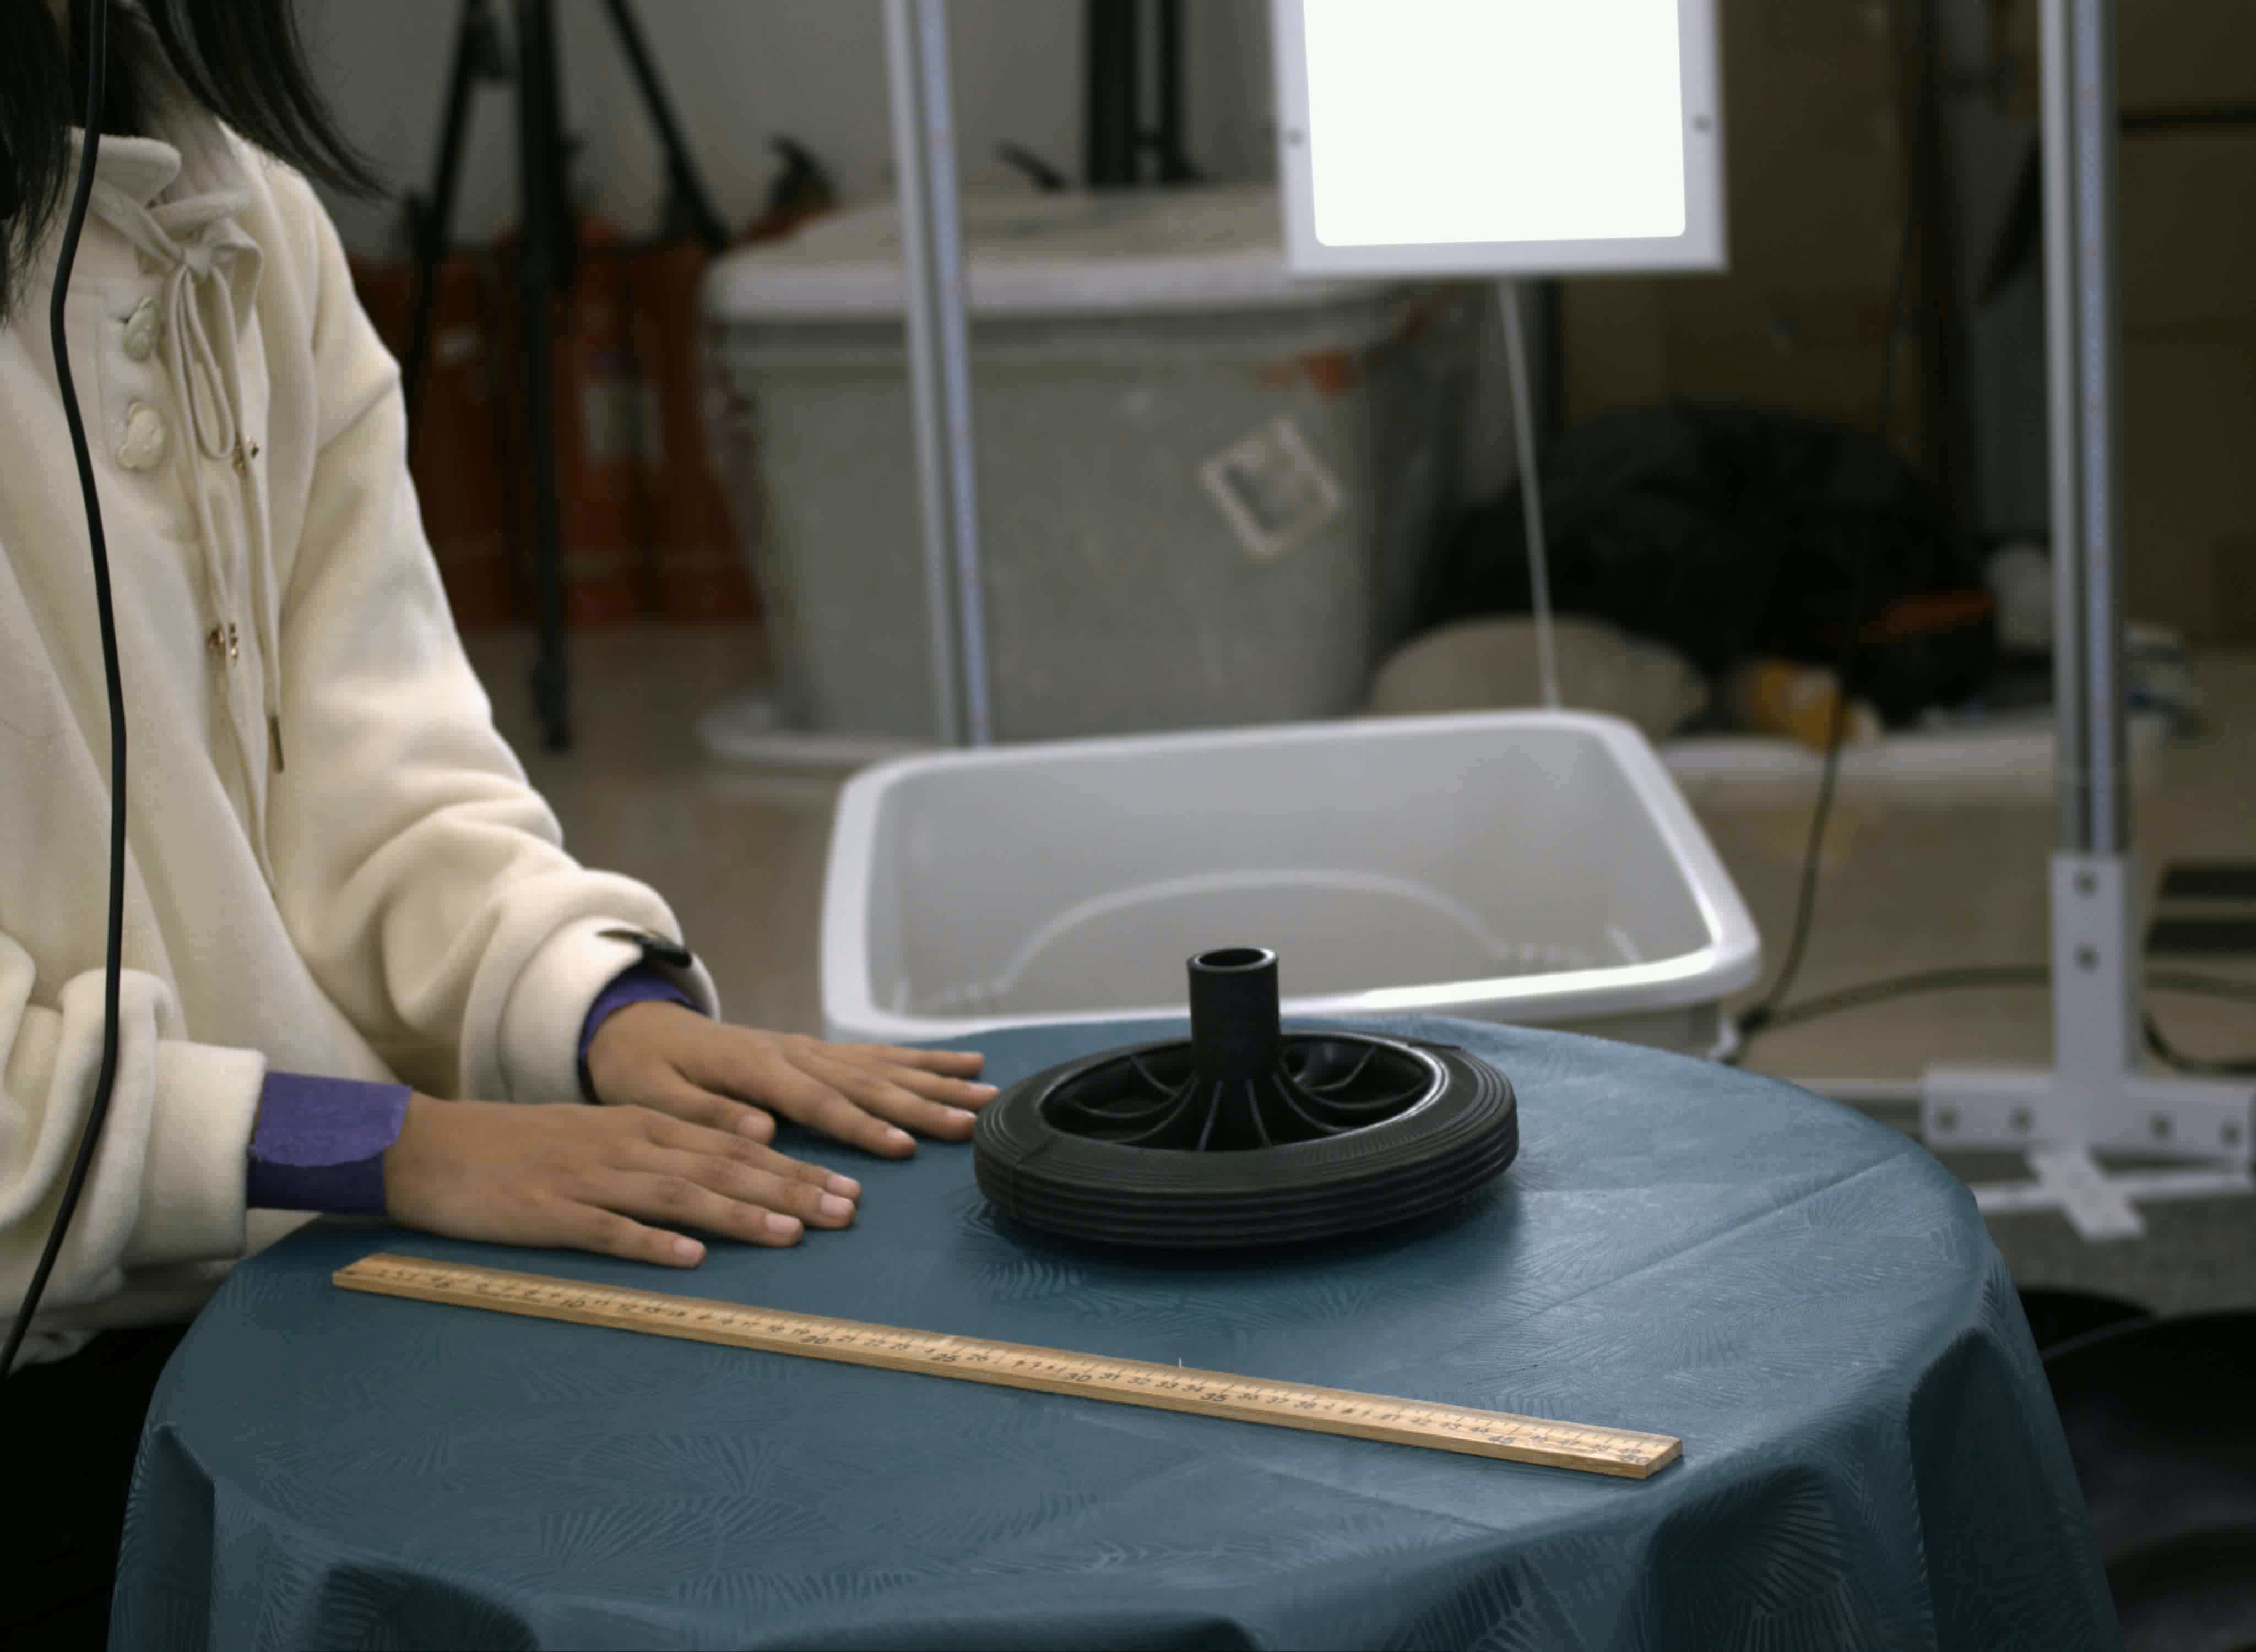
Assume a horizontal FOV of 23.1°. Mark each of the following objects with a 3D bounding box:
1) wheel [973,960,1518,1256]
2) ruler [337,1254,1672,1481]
[{"bbox_3d":[0.039,0.088,1.883,0.188,0.079,0.188,-3,14,6],"label":"wheel"},{"bbox_3d":[-0.055,0.168,1.740,0.510,0.006,0.026,5,17,35],"label":"ruler"}]
